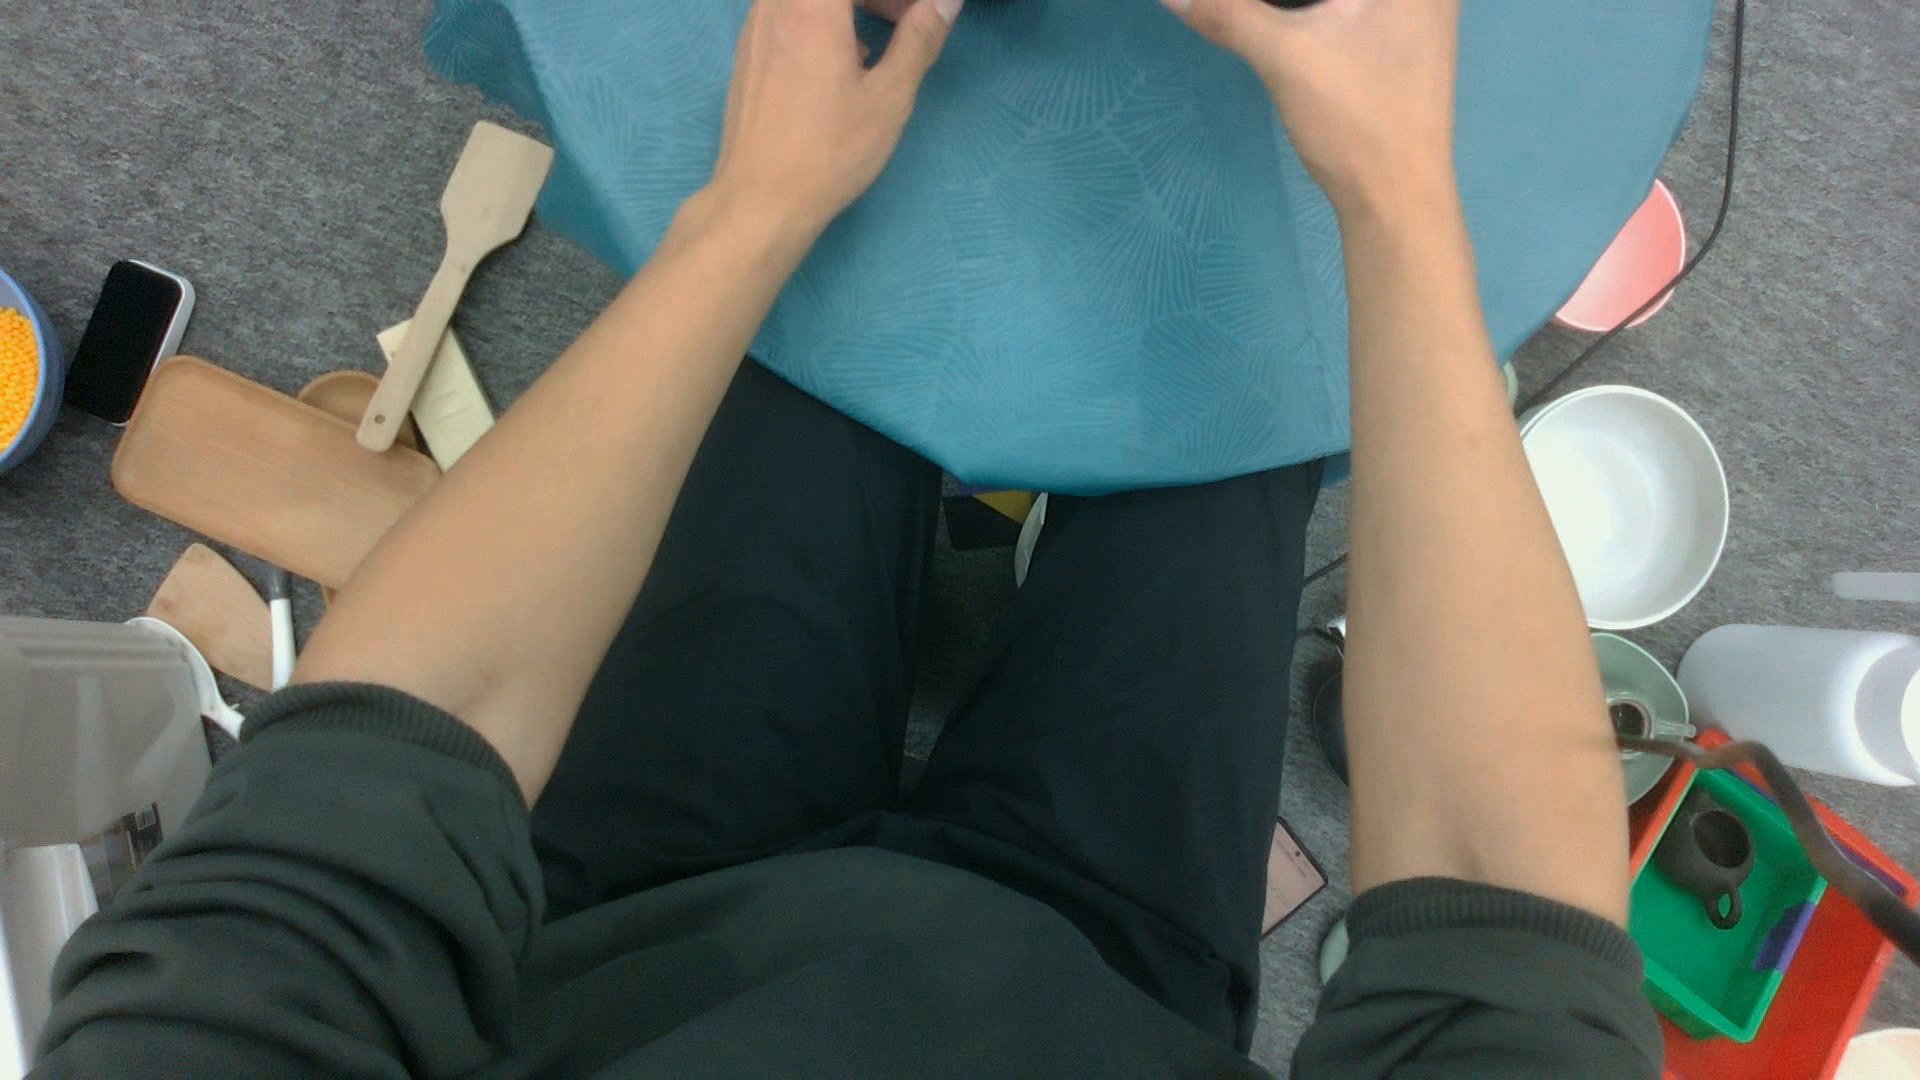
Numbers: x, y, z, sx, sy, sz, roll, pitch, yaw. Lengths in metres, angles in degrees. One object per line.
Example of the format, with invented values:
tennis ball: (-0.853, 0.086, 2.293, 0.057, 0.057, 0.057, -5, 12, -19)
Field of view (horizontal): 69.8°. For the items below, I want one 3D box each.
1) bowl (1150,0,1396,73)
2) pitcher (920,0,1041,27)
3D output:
bowl: (0.133, -0.254, 0.591, 0.118, 0.070, 0.118, 0, 77, 0)
pitcher: (0.014, -0.274, 0.630, 0.096, 0.071, 0.084, 21, 84, -5)
